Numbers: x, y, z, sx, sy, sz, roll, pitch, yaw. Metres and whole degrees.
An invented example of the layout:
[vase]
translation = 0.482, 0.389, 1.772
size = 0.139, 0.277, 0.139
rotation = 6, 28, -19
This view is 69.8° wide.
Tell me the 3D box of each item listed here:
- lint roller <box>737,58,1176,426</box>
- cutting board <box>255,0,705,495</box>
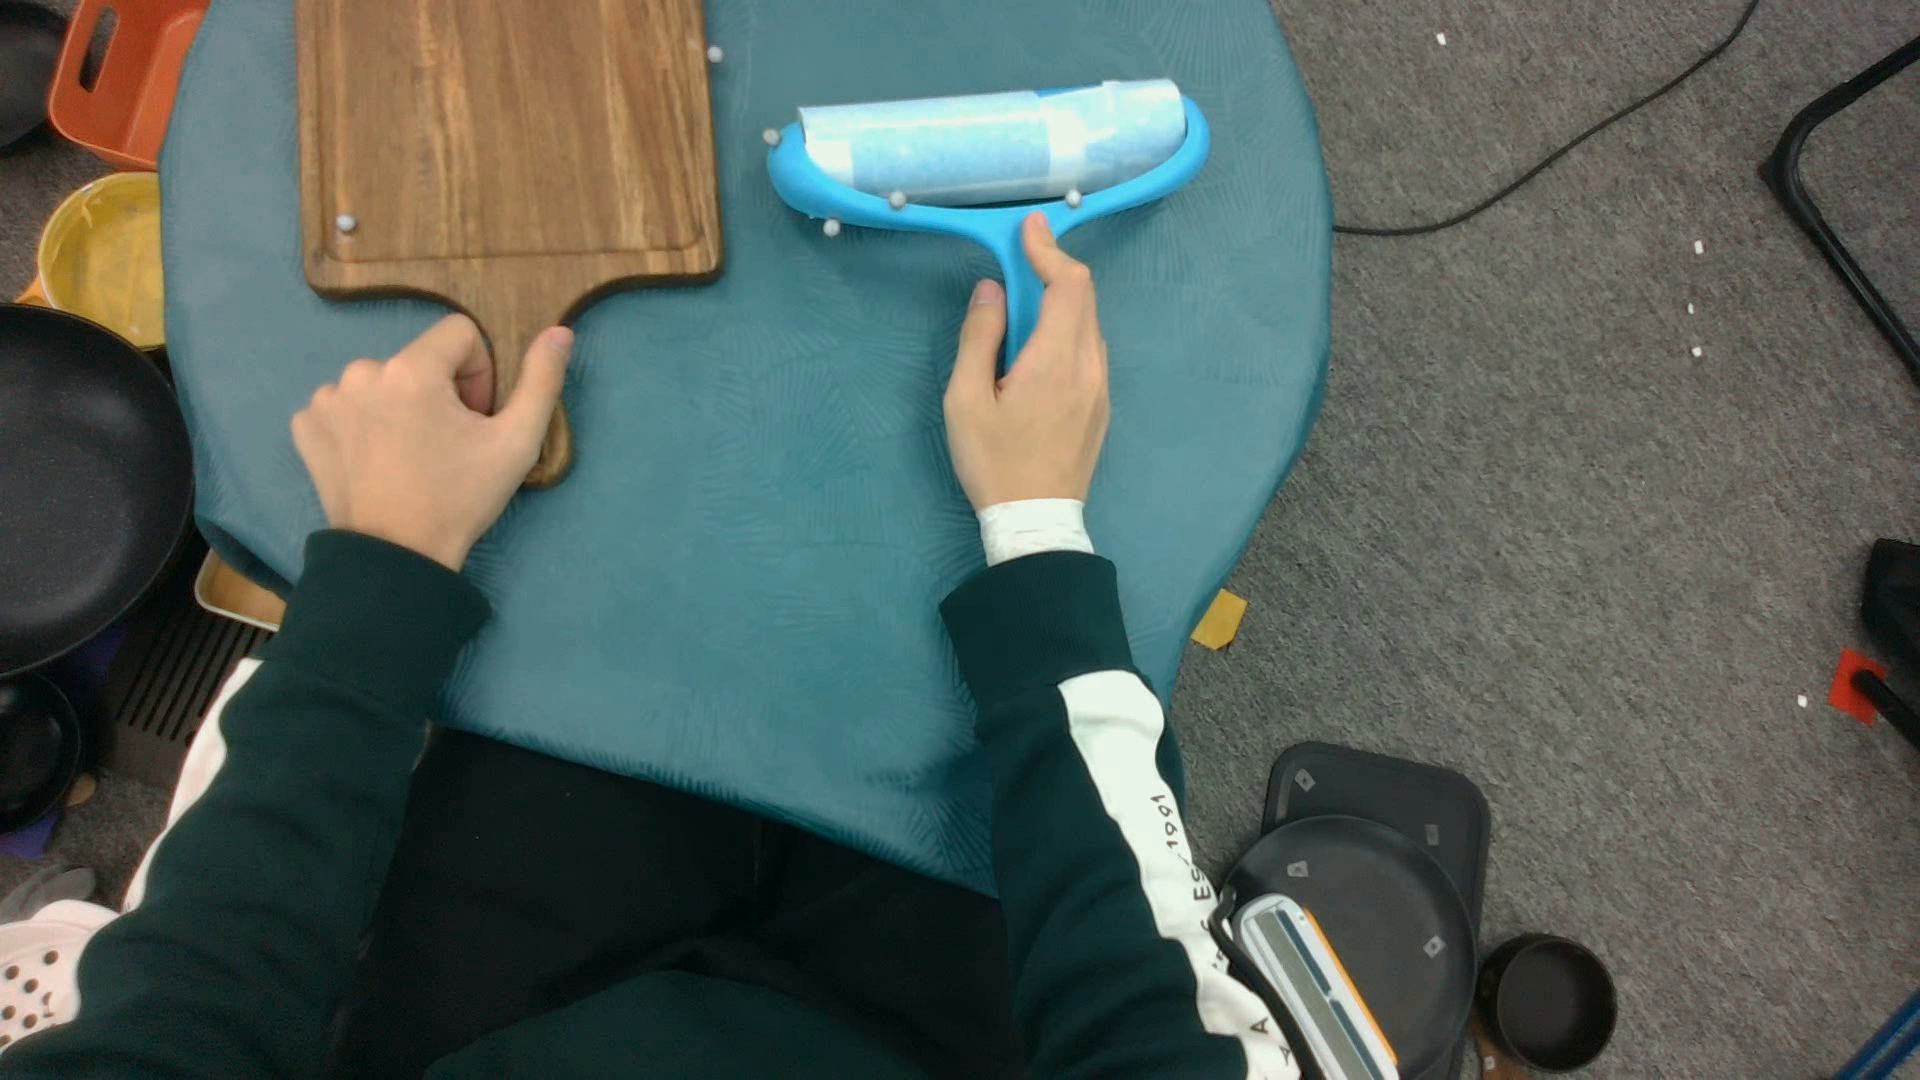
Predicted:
[lint roller]
translation = 0.014, -0.152, 0.700
size = 0.229, 0.068, 0.180
rotation = -12, 82, -13
[cutting board]
translation = -0.236, -0.195, 0.684
size = 0.201, 0.023, 0.352
rotation = -8, 81, -10
